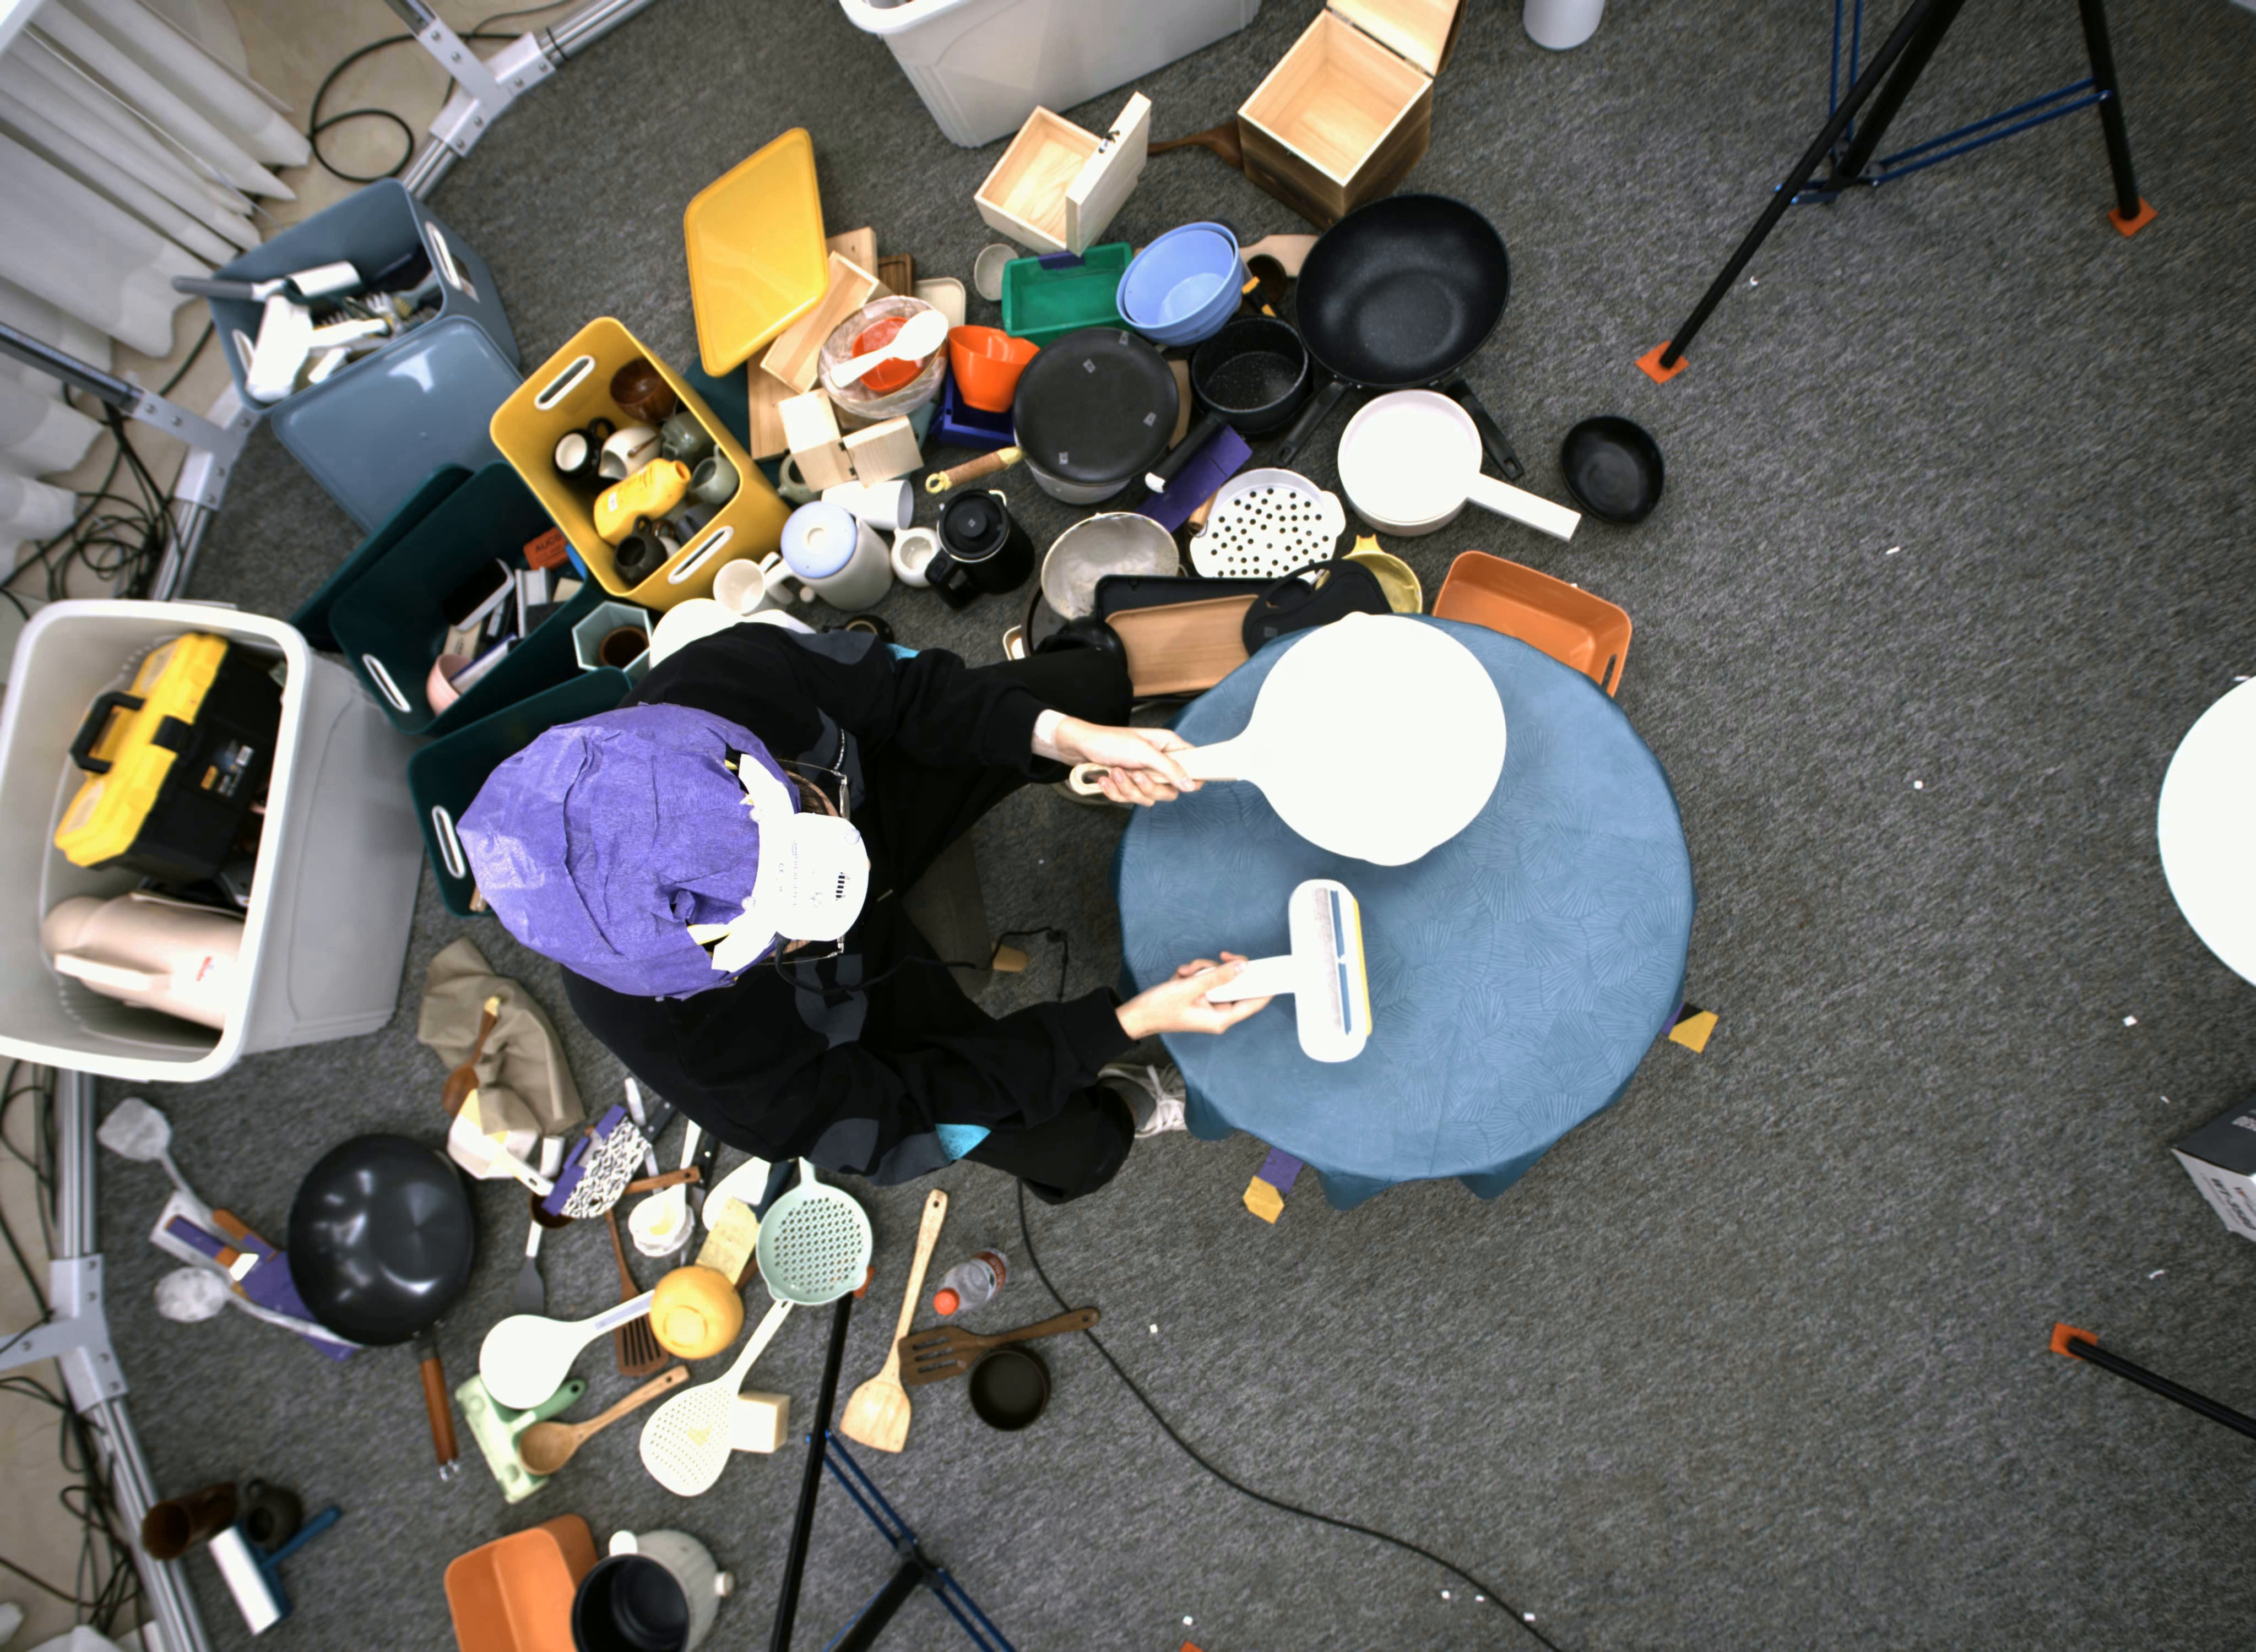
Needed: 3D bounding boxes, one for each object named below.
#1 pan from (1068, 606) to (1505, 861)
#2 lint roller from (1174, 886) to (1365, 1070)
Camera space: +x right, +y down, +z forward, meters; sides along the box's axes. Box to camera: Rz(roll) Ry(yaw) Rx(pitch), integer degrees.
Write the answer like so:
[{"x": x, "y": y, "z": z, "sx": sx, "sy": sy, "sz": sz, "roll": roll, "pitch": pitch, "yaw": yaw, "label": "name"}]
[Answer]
[{"x": 0.159, "y": -0.074, "z": 1.402, "sx": 0.437, "sy": 0.102, "sz": 0.261, "roll": -10, "pitch": 82, "yaw": 8, "label": "pan"}, {"x": 0.140, "y": 0.154, "z": 1.396, "sx": 0.193, "sy": 0.075, "sz": 0.189, "roll": -1, "pitch": 65, "yaw": 8, "label": "lint roller"}]
